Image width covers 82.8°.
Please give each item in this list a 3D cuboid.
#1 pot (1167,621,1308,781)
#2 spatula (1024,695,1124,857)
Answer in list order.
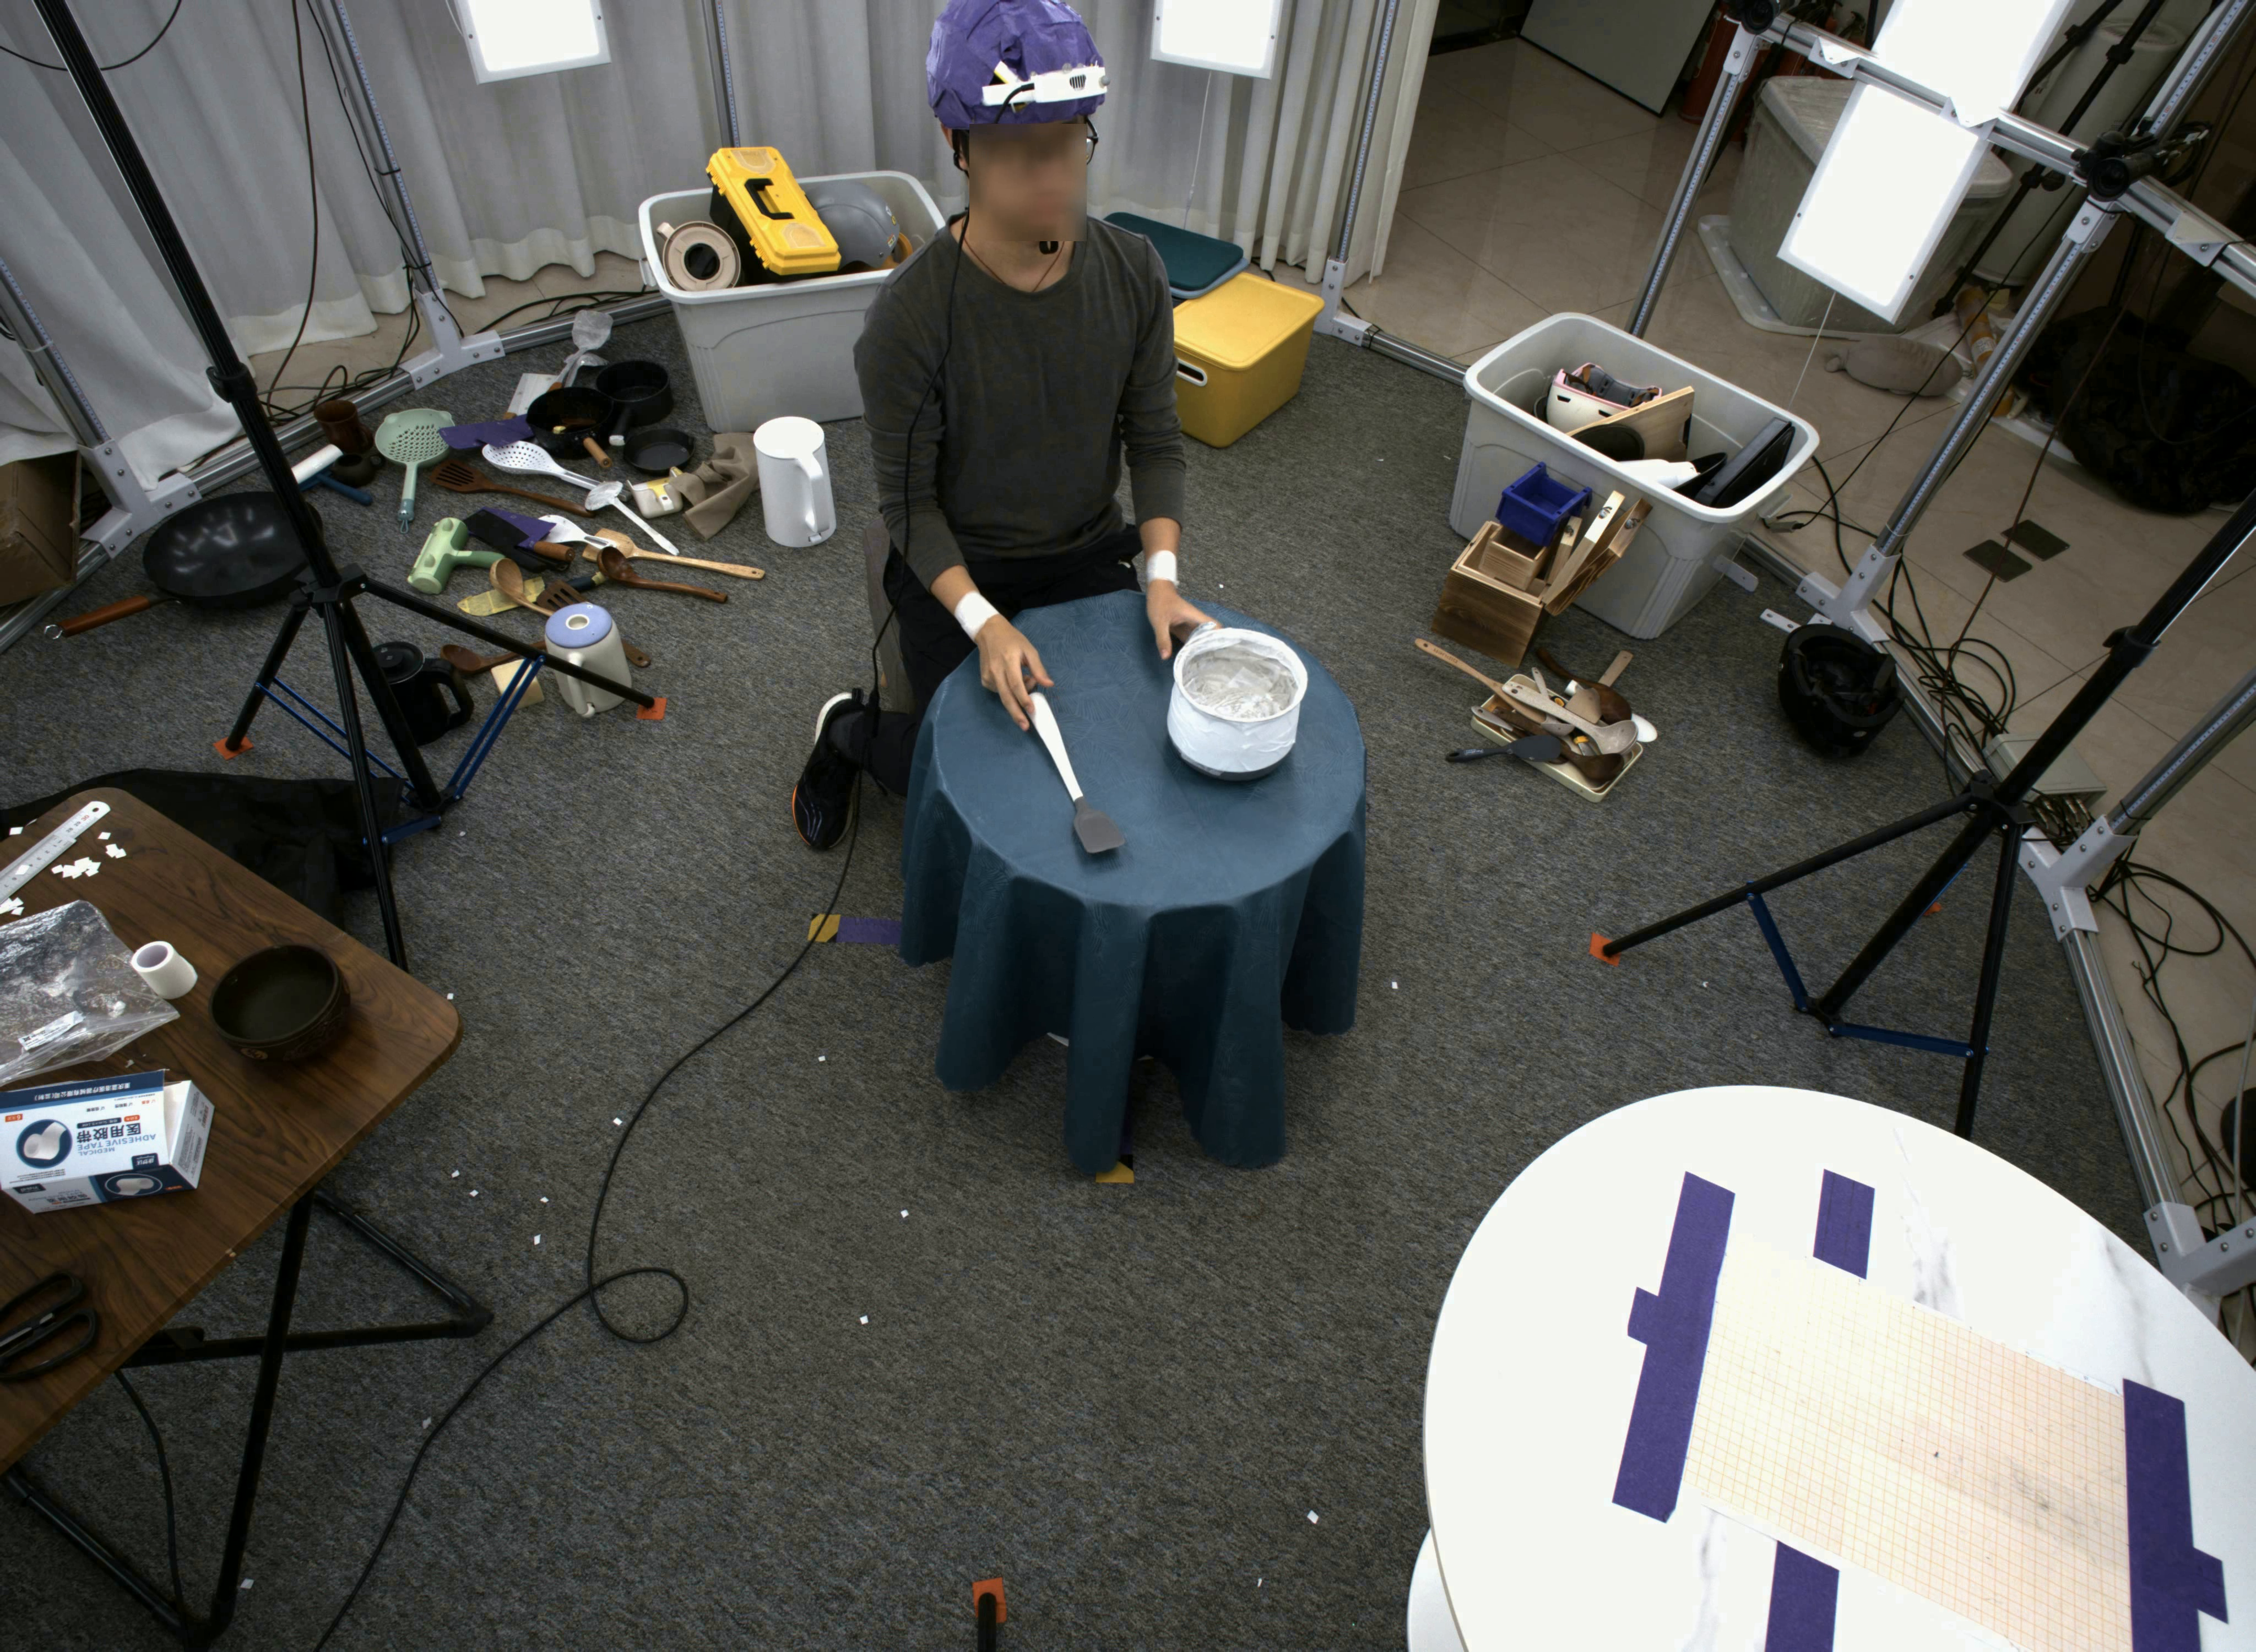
[{"bbox_3d":[0.133,-0.180,1.744,0.179,0.133,0.239,-15,52,-17],"label":"pot"},{"bbox_3d":[-0.078,-0.066,1.698,0.058,0.031,0.294,-12,50,-18],"label":"spatula"}]
